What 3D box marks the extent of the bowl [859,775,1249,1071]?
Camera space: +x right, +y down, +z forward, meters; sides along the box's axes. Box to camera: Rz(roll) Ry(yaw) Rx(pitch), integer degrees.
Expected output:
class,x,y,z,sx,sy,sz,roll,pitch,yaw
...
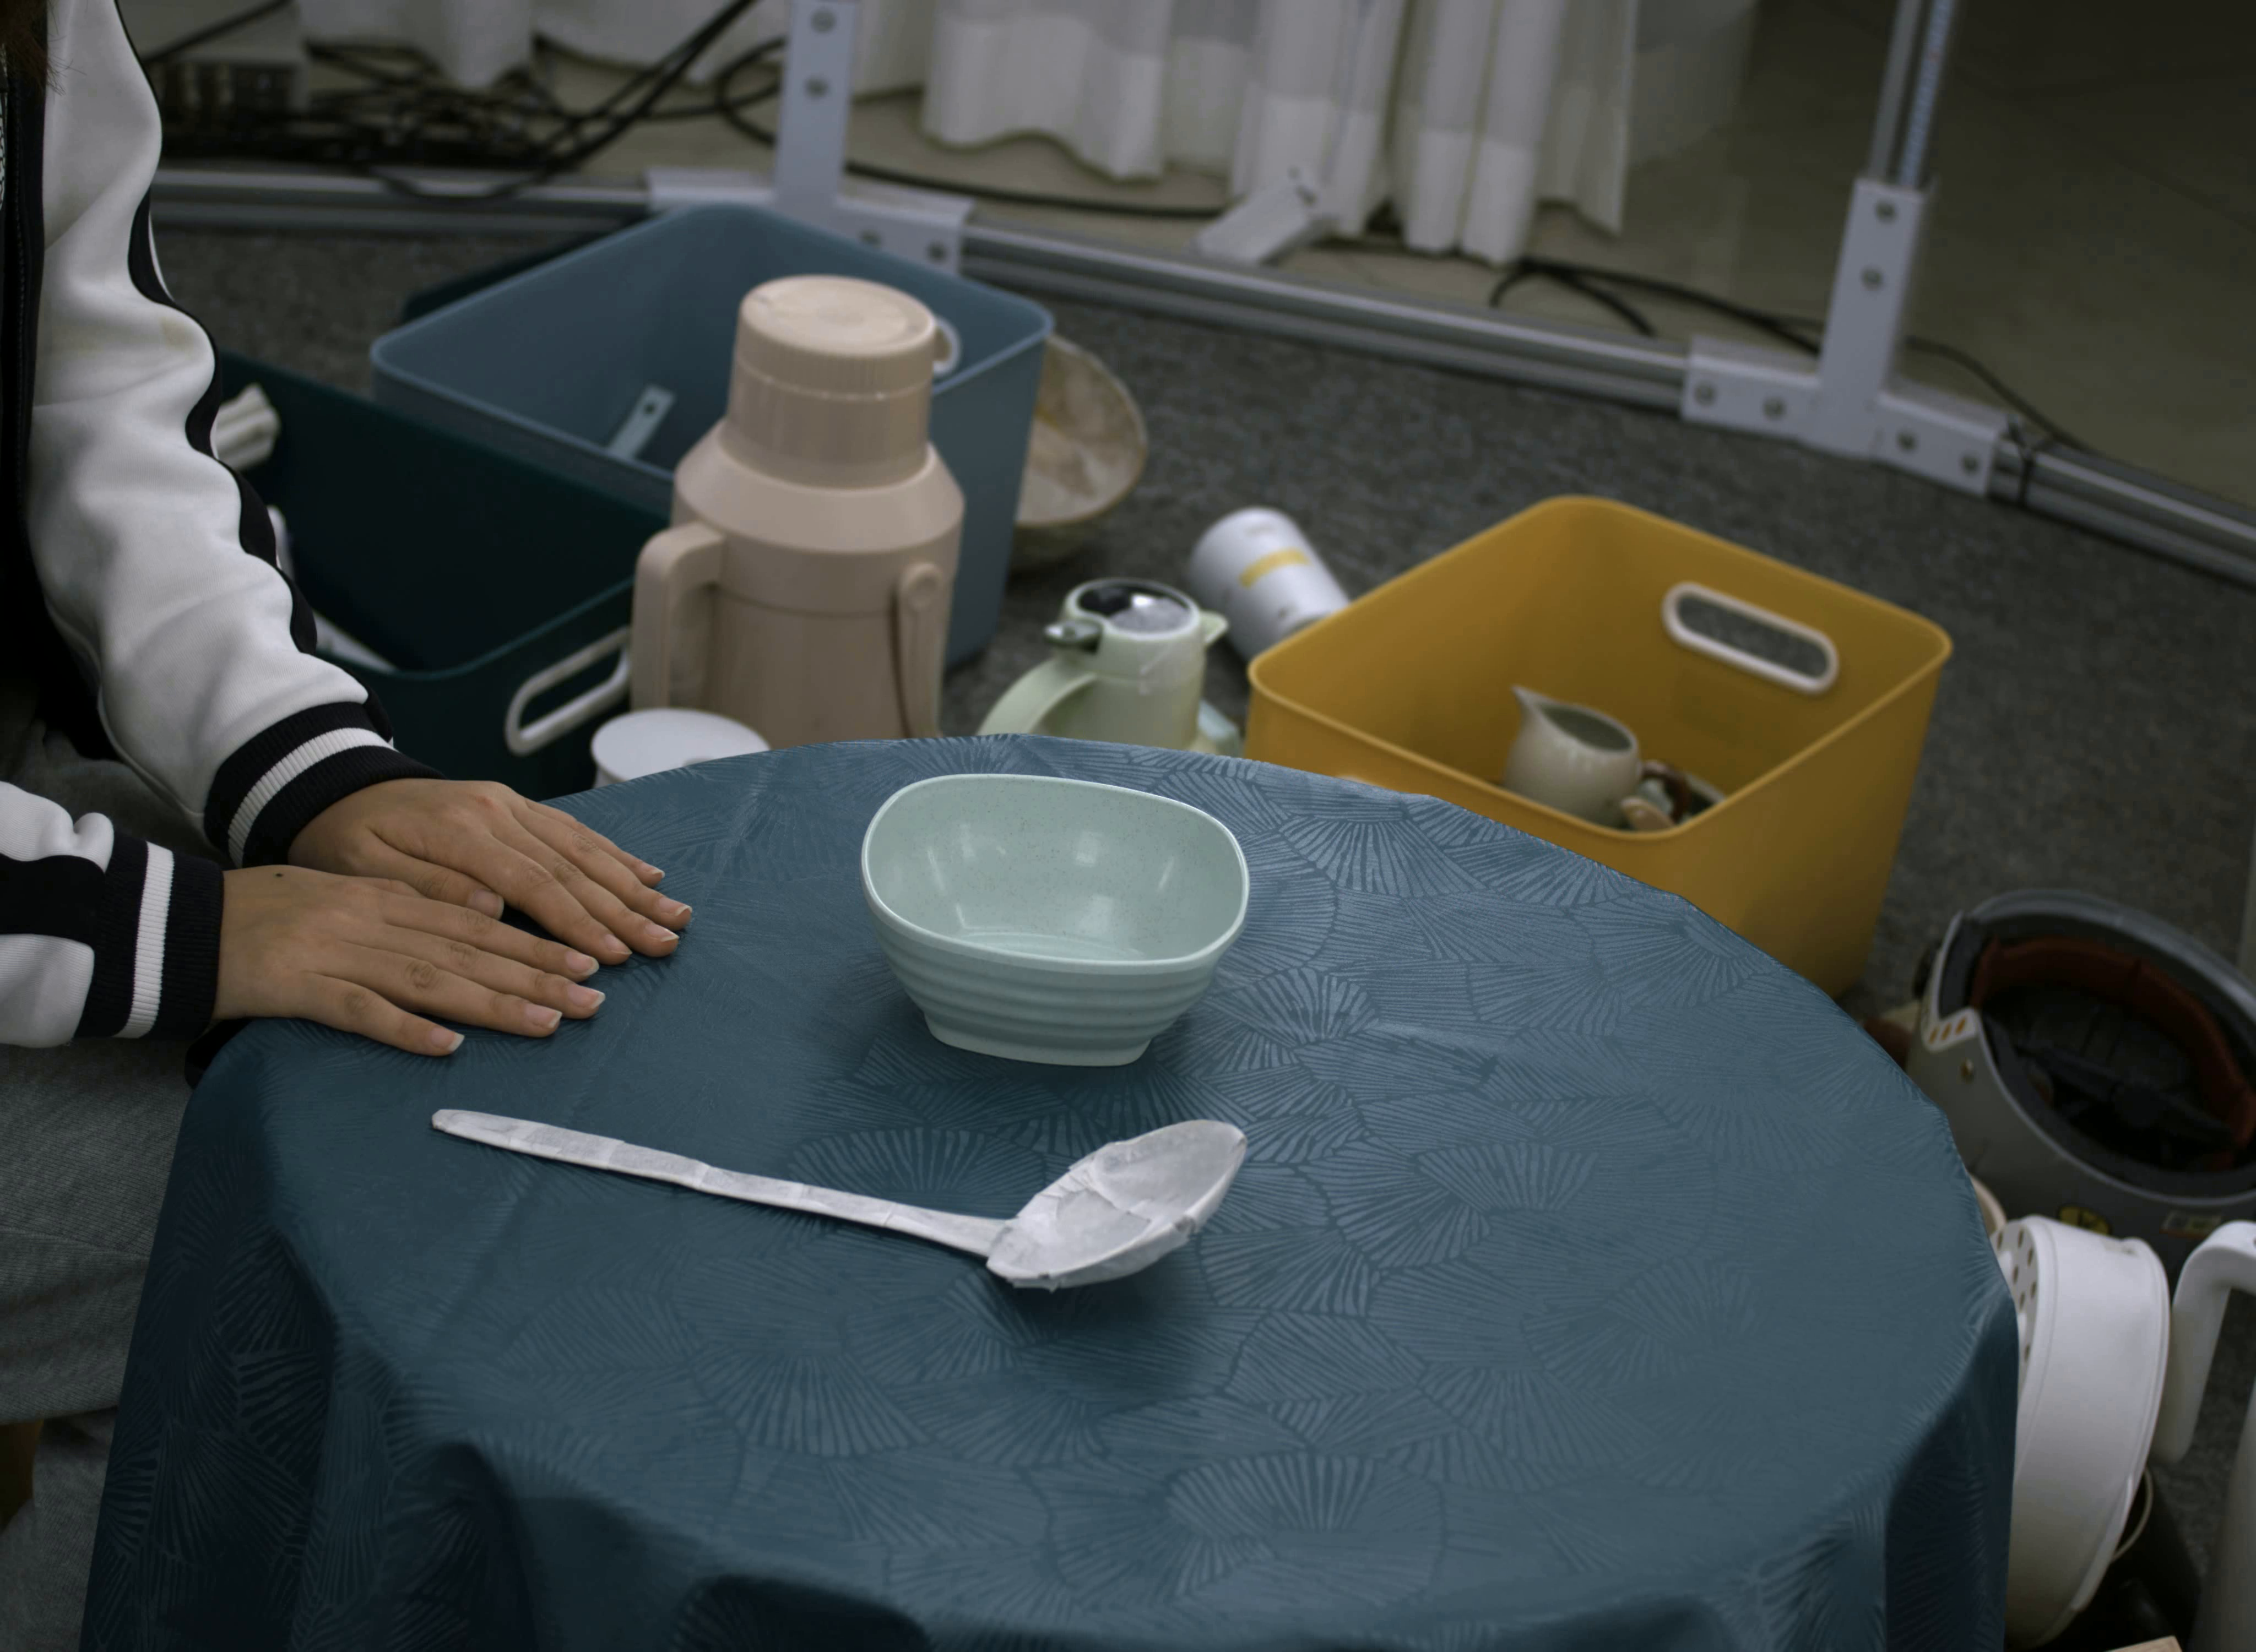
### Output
class,x,y,z,sx,sy,sz,roll,pitch,yaw
bowl,-0.029,0.040,1.900,0.151,0.058,0.152,5,28,-3

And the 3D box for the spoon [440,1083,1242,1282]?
class,x,y,z,sx,sy,sz,roll,pitch,yaw
spoon,-0.098,0.098,1.767,0.278,0.059,0.101,14,23,14
